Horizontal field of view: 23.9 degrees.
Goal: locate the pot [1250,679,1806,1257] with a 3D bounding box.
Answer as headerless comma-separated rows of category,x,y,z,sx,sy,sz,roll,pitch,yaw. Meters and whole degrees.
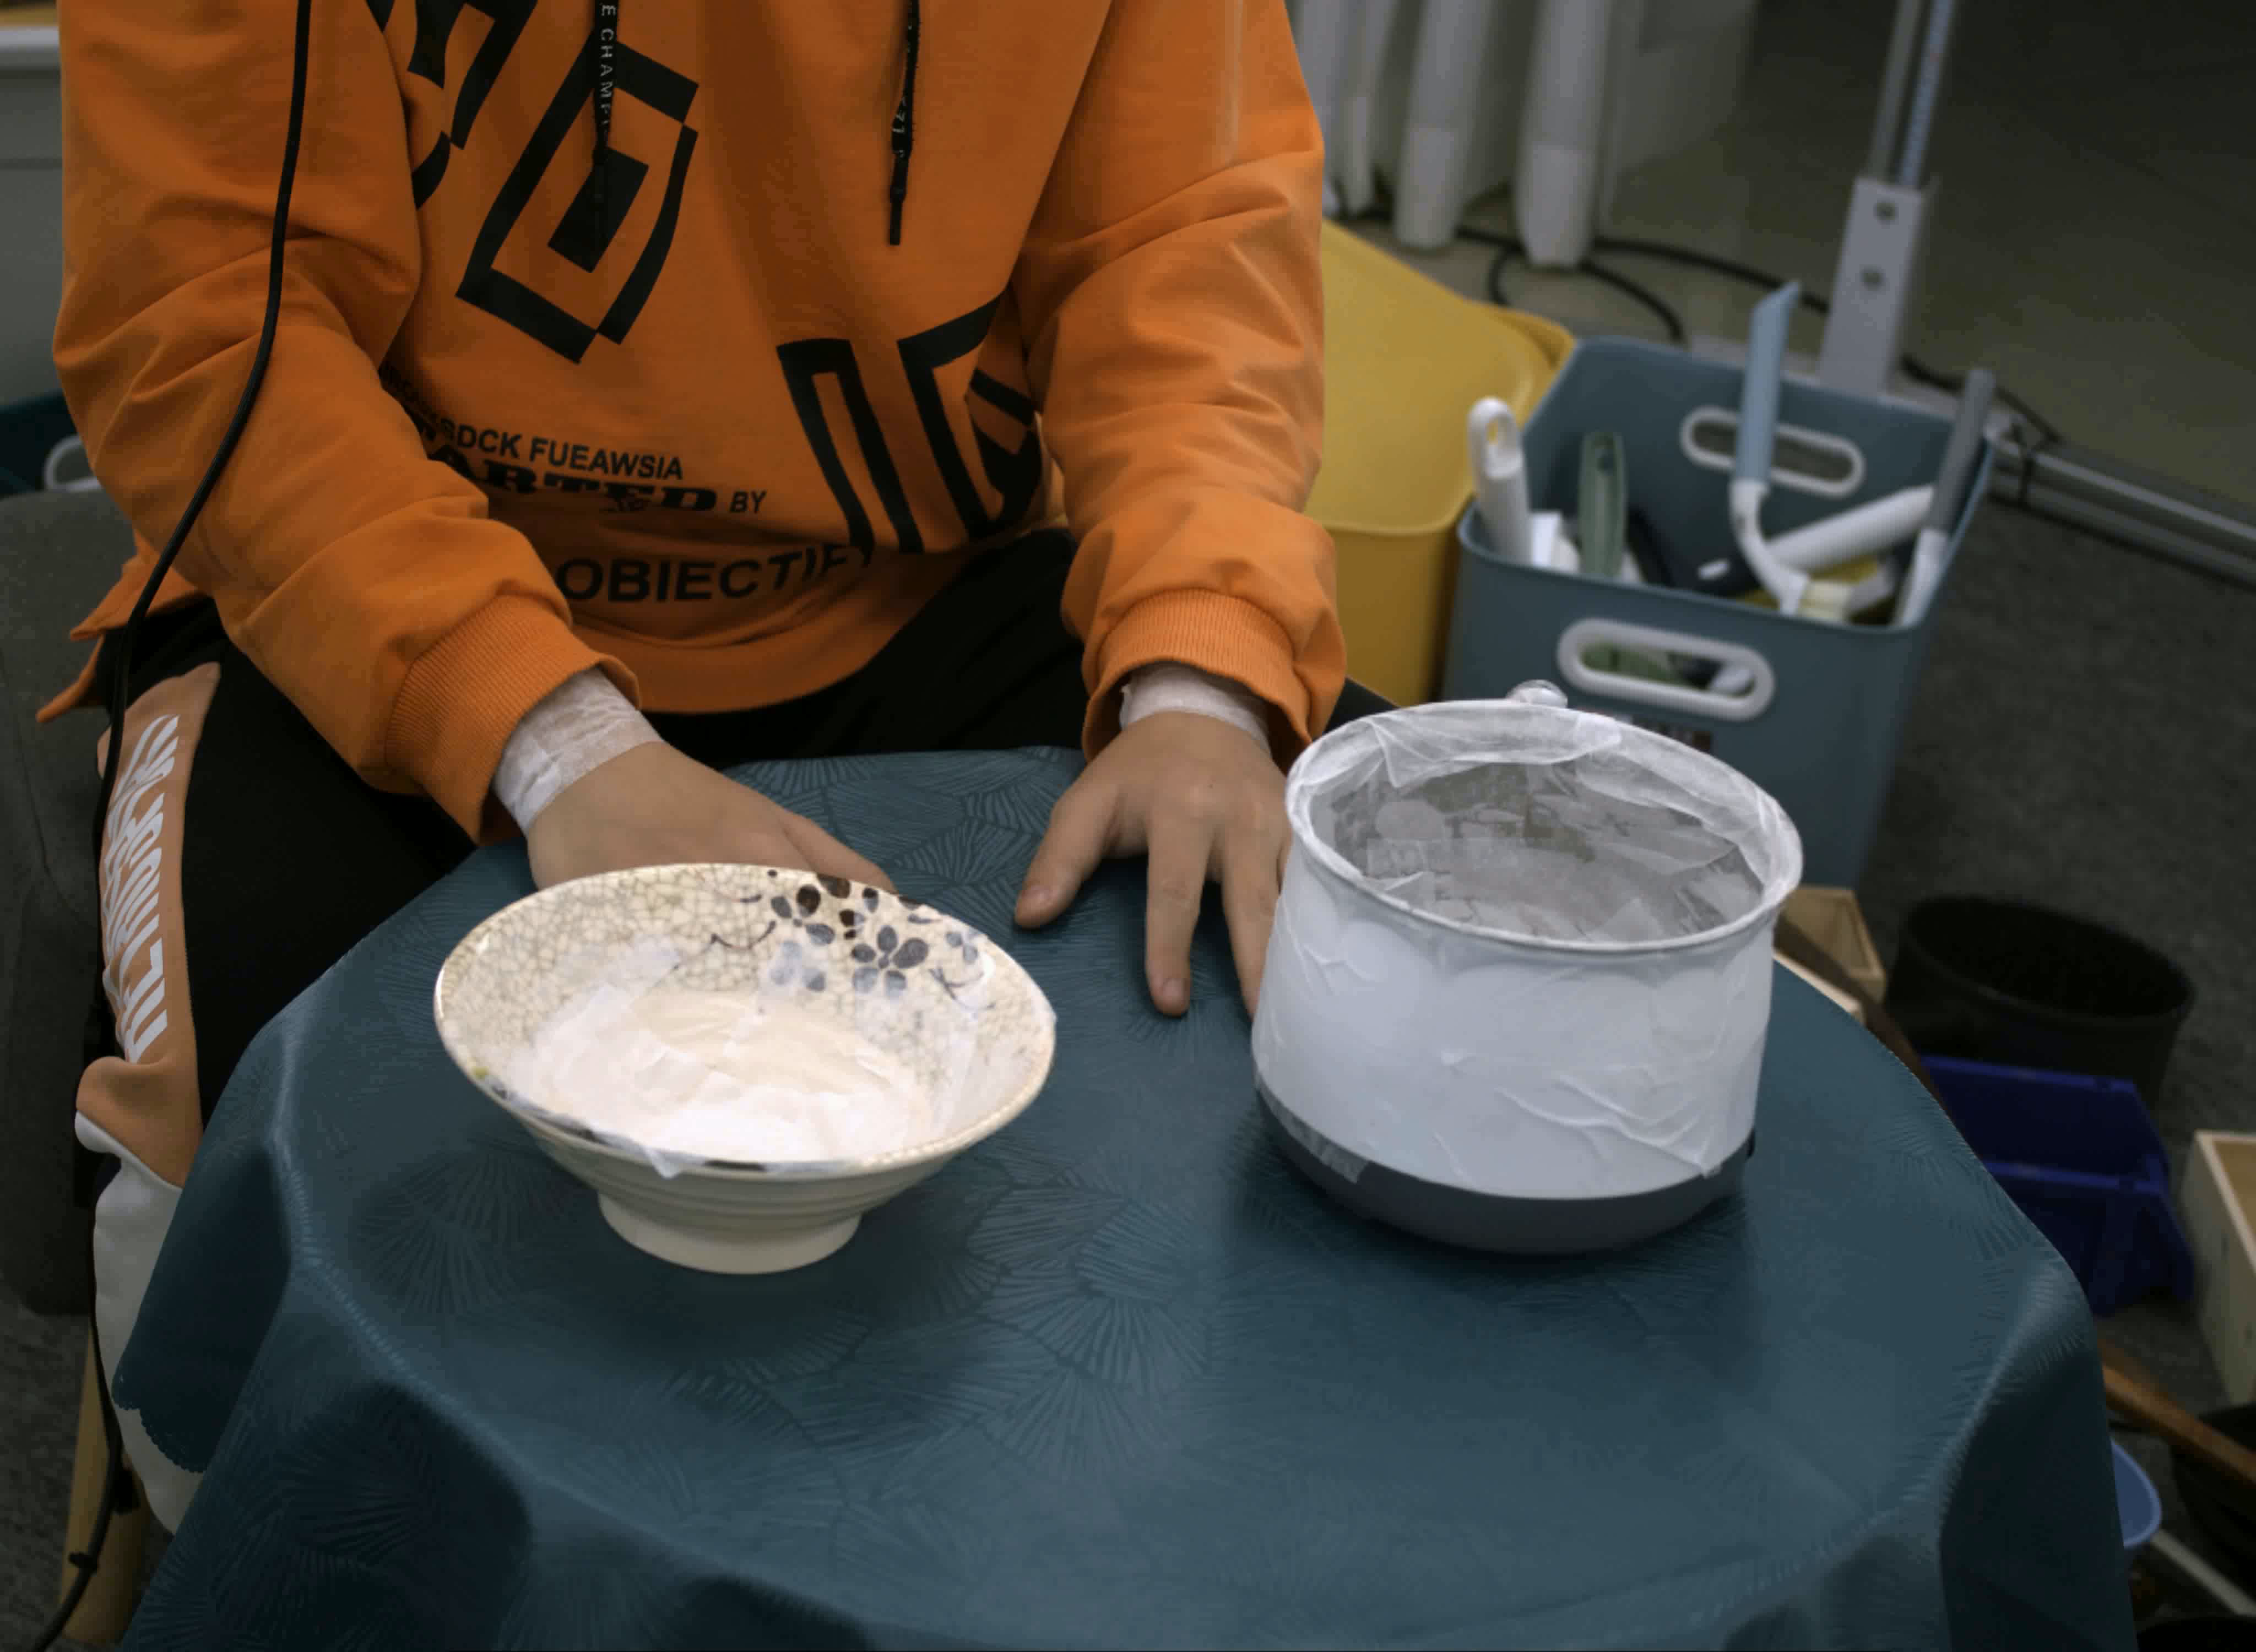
pot,0.134,0.041,1.844,0.178,0.136,0.235,7,27,-1

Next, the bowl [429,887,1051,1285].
bowl,-0.129,0.096,1.749,0.203,0.078,0.205,4,23,-2
